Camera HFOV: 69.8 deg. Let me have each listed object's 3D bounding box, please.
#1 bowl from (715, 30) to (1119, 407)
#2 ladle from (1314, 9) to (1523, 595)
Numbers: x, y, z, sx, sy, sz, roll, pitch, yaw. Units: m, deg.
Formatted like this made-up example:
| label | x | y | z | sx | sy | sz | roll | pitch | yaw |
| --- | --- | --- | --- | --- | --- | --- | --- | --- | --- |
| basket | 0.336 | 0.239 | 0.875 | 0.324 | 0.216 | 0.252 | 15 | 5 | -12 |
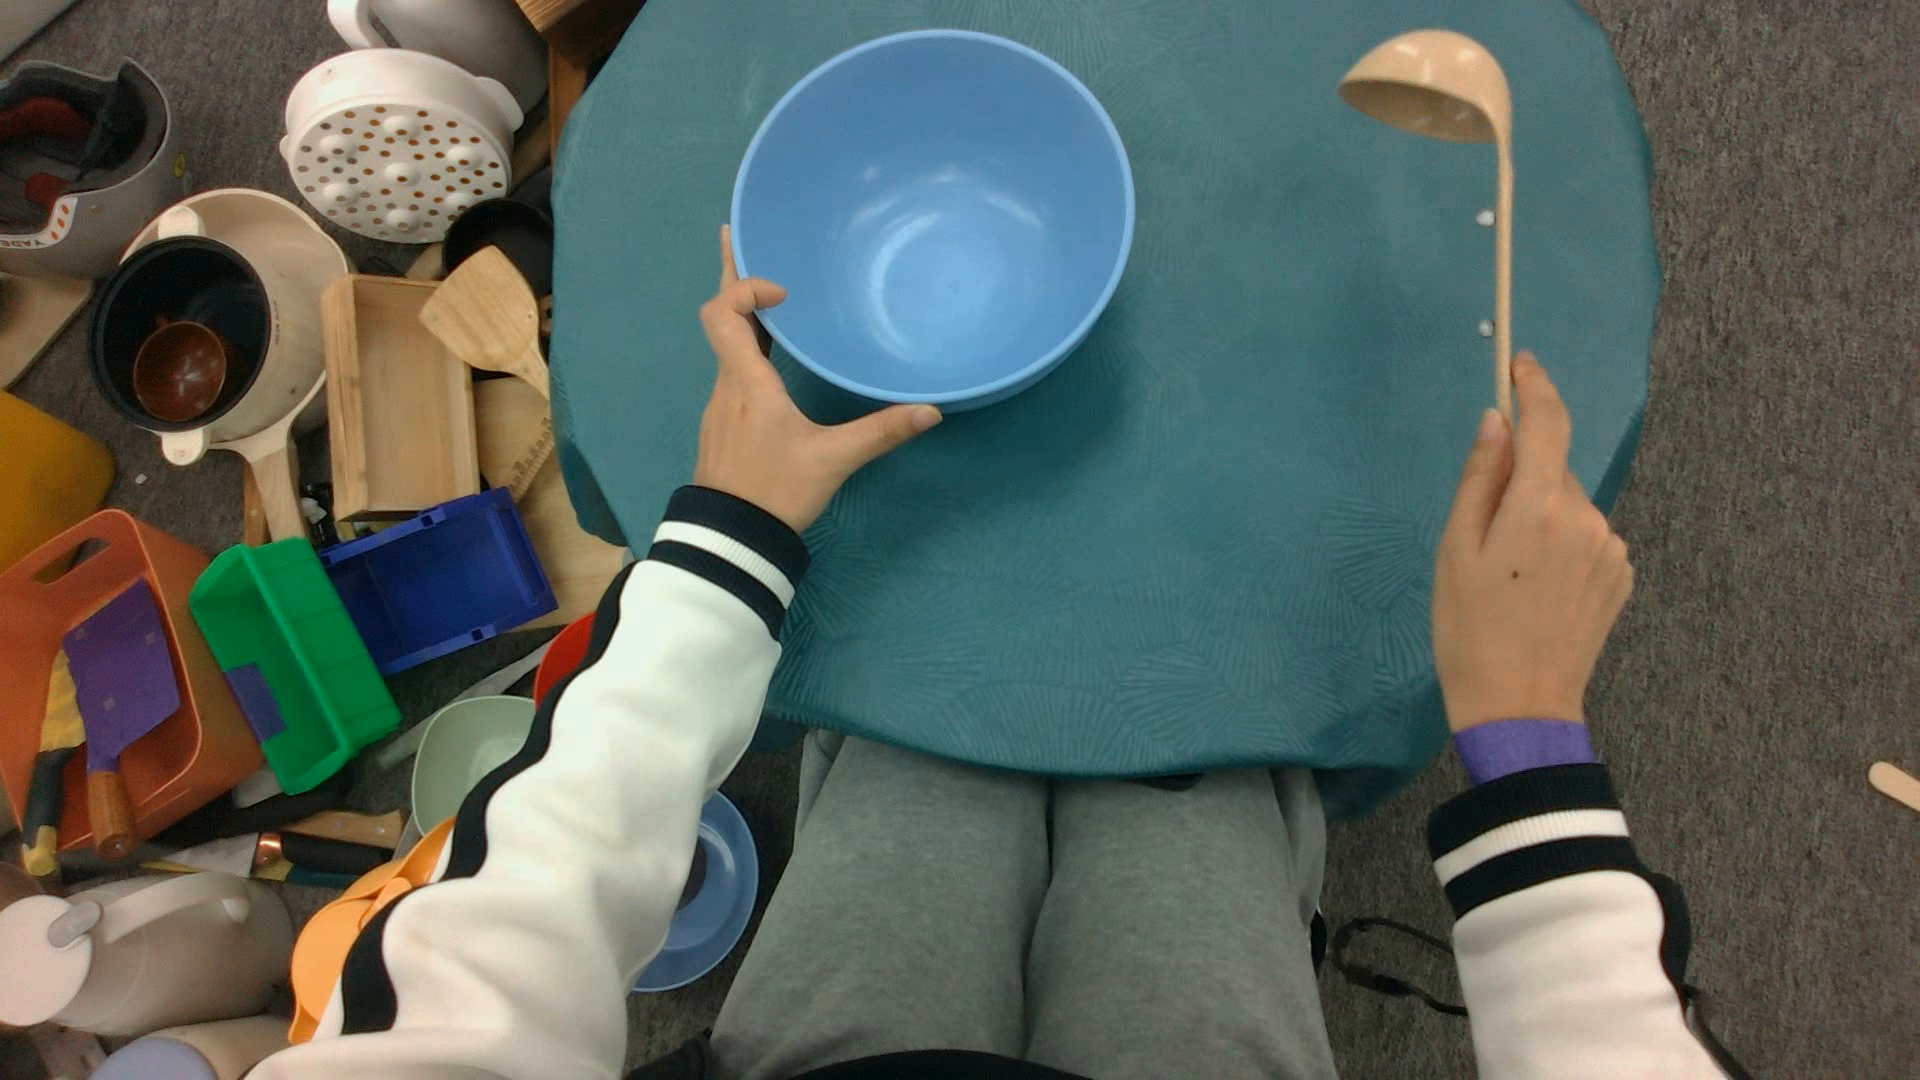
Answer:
| label | x | y | z | sx | sy | sz | roll | pitch | yaw |
| --- | --- | --- | --- | --- | --- | --- | --- | --- | --- |
| bowl | -0.019 | -0.150 | 0.710 | 0.196 | 0.095 | 0.197 | -1 | 75 | 2 |
| ladle | 0.195 | -0.102 | 0.592 | 0.073 | 0.072 | 0.255 | -1 | 80 | 4 |
